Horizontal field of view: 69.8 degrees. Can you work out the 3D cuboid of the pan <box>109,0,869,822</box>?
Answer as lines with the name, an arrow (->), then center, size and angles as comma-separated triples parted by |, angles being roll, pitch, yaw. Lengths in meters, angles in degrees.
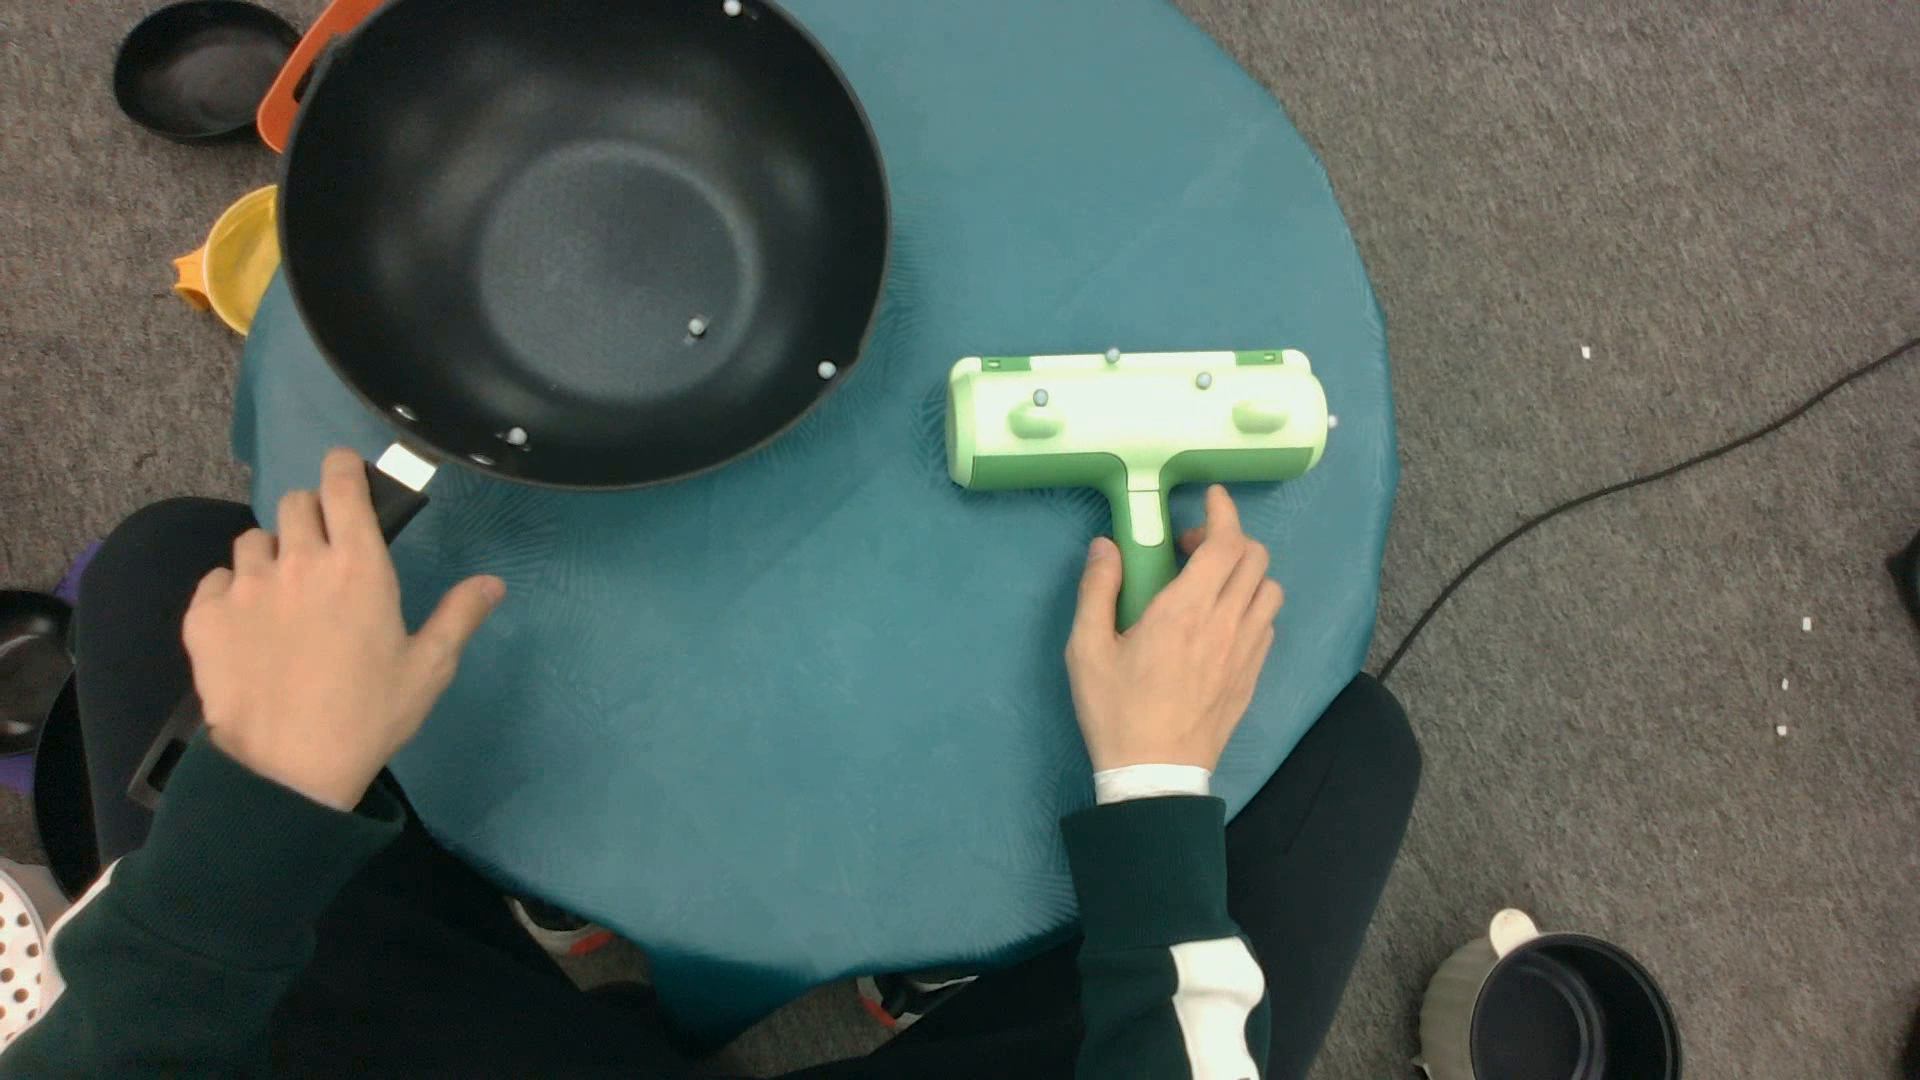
pan -> -0.231, -0.073, 0.661 | 0.288, 0.086, 0.464 | 29, 76, 0

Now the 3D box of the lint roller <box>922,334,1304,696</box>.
lint roller -> 0.086, -0.017, 0.697 | 0.199, 0.082, 0.184 | -3, 72, -9
